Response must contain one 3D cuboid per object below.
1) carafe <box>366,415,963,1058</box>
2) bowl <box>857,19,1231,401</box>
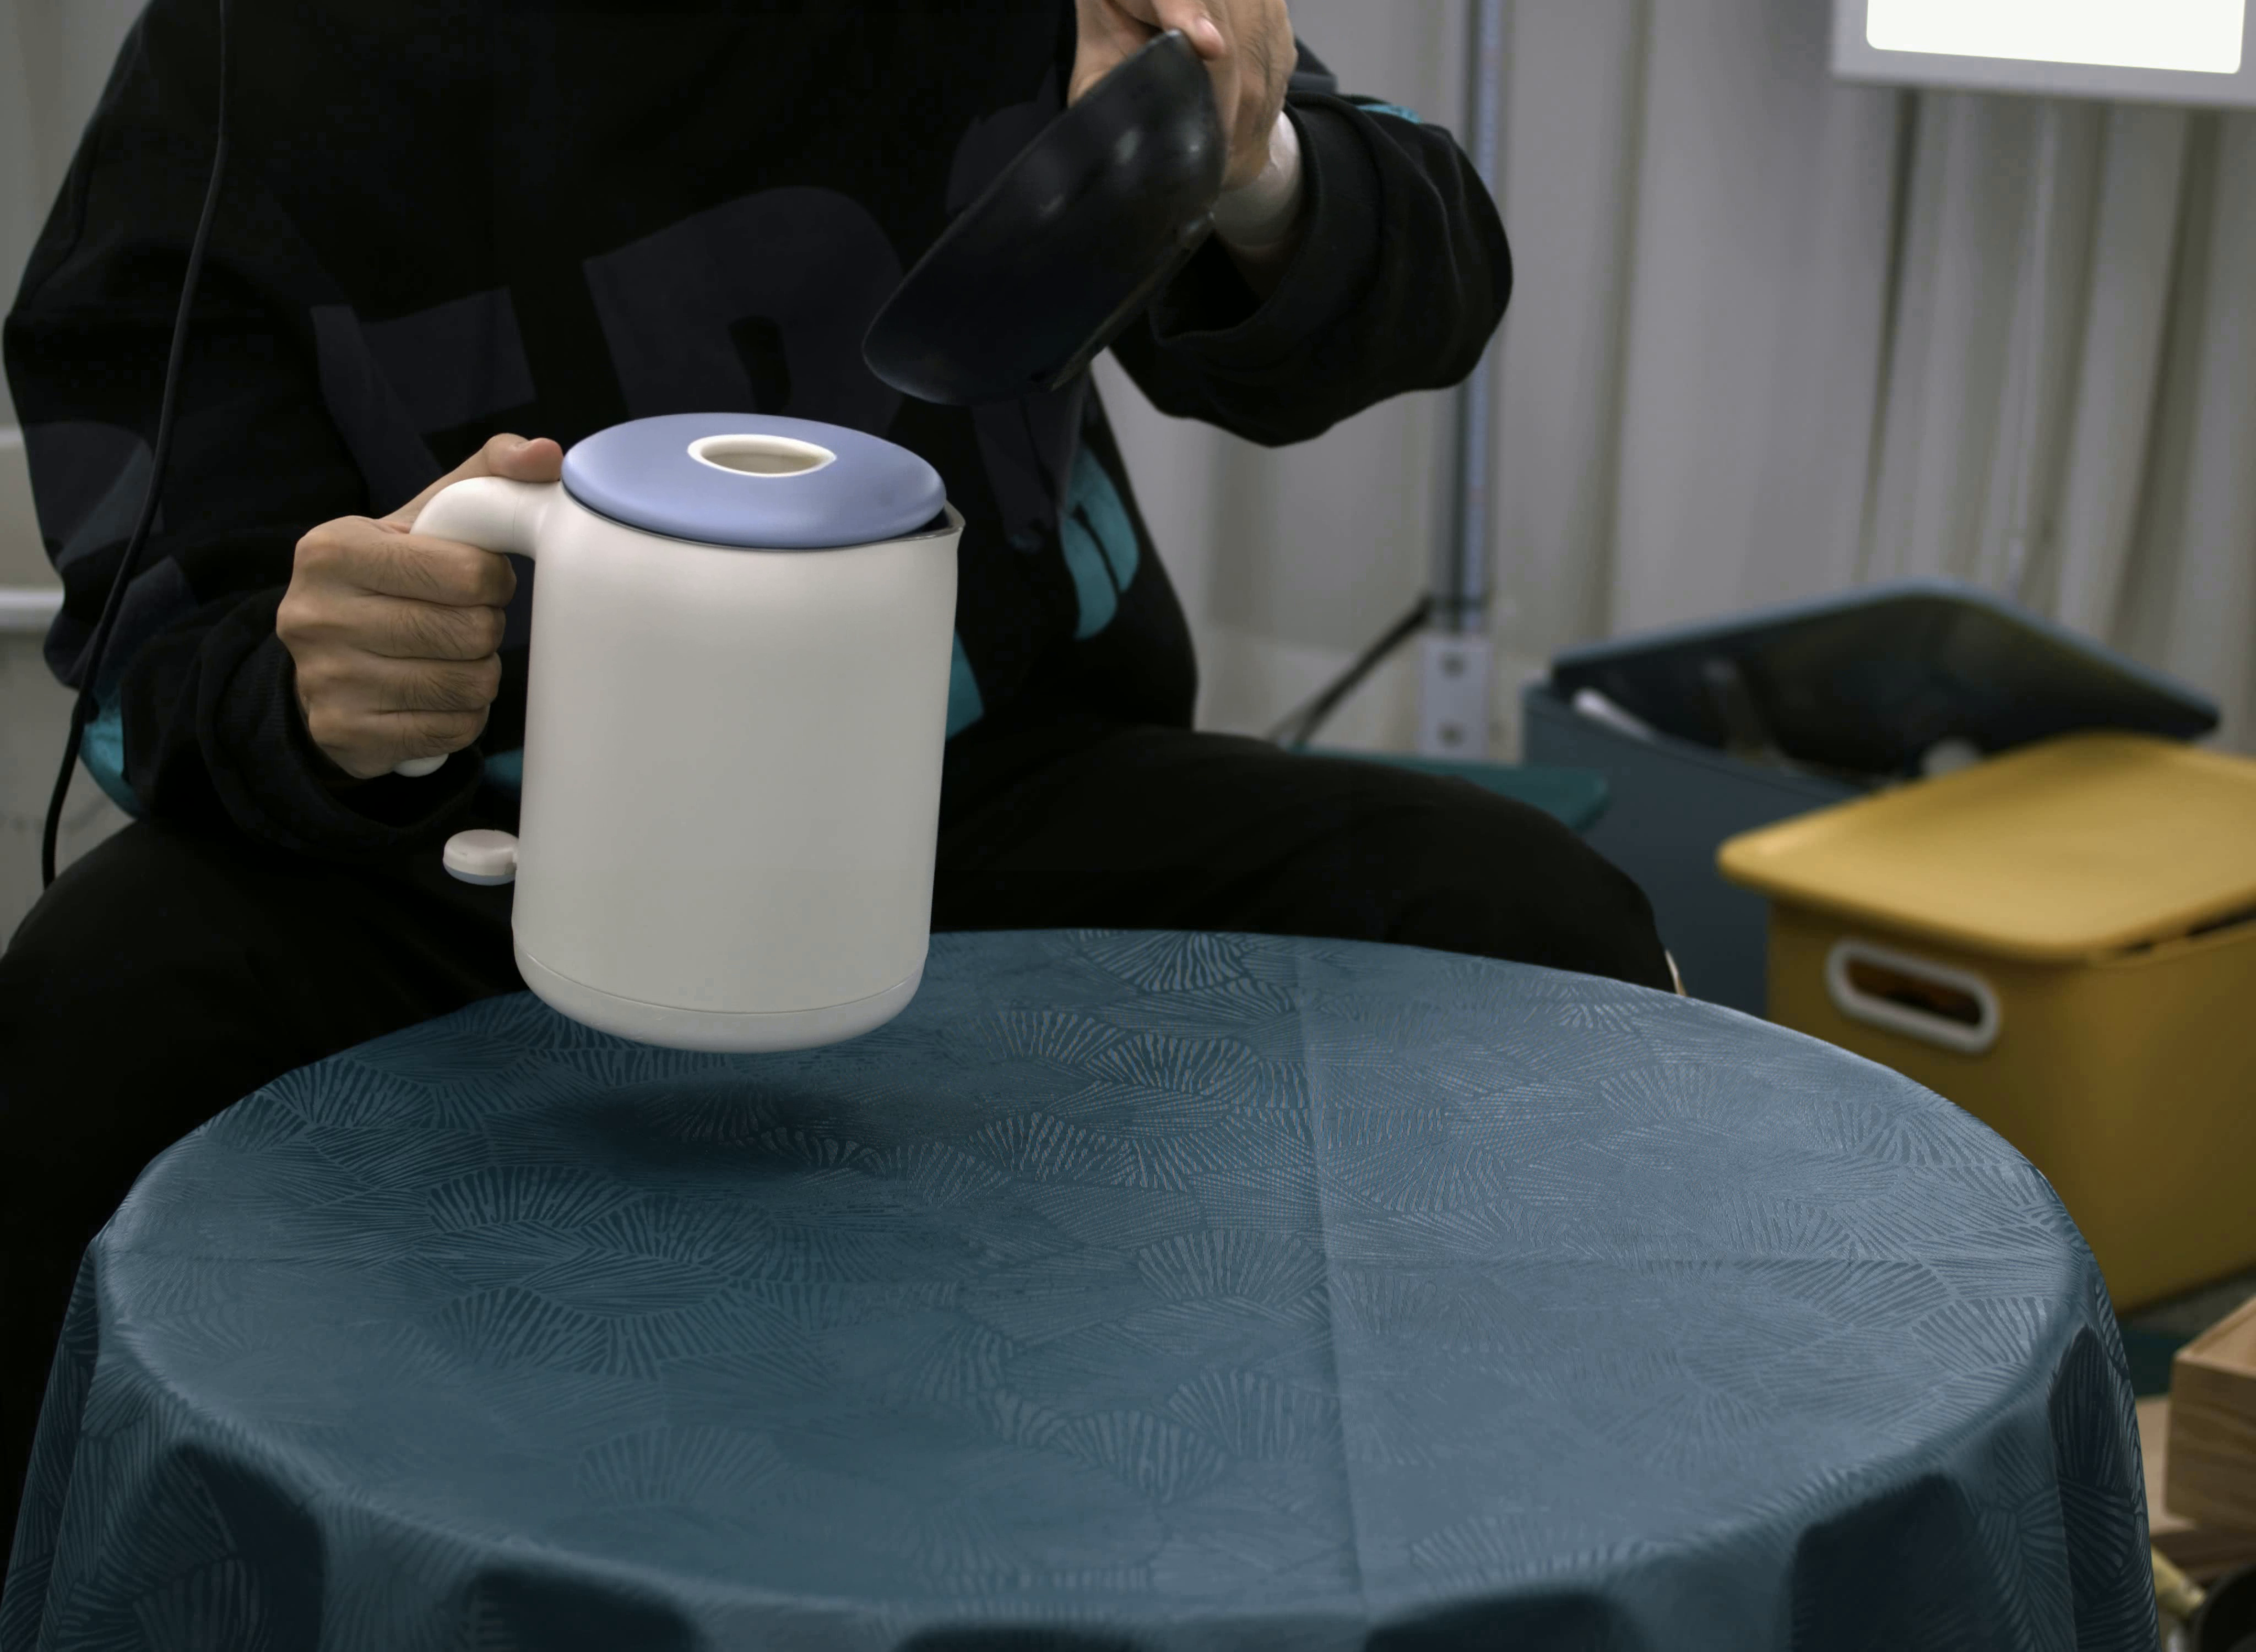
[{"bbox_3d":[-0.145,-0.031,1.632,0.190,0.184,0.132,6,18,12],"label":"carafe"},{"bbox_3d":[-0.015,-0.172,1.559,0.050,0.140,0.140,45,23,2],"label":"bowl"}]
